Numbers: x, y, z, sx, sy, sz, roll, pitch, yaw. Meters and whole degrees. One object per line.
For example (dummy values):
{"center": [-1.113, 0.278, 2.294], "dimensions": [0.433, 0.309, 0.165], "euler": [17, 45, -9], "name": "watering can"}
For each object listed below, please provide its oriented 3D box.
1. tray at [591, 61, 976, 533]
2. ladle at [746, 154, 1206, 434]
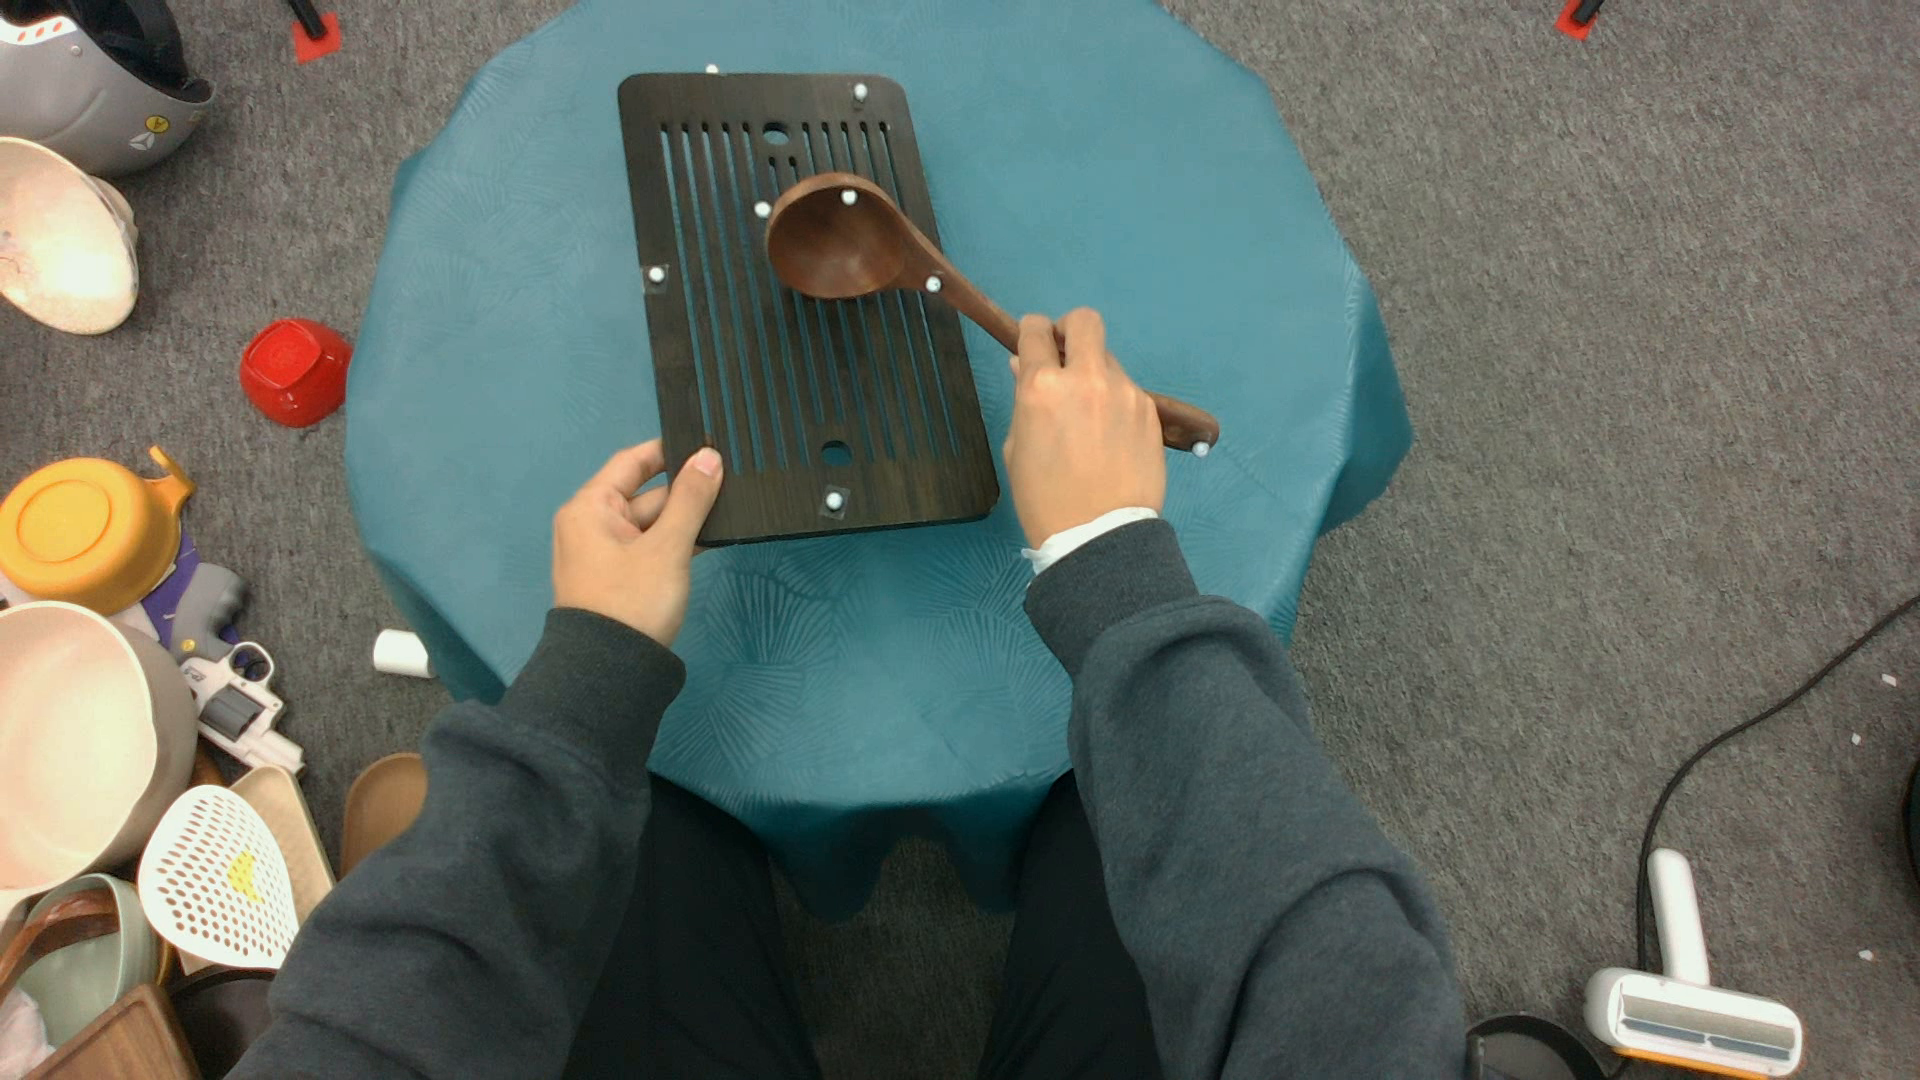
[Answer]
{"center": [-0.102, -0.145, 0.759], "dimensions": [0.170, 0.018, 0.307], "euler": [-6, 65, -16], "name": "tray"}
{"center": [0.006, -0.116, 0.713], "dimensions": [0.260, 0.076, 0.065], "euler": [34, 48, 8], "name": "ladle"}
